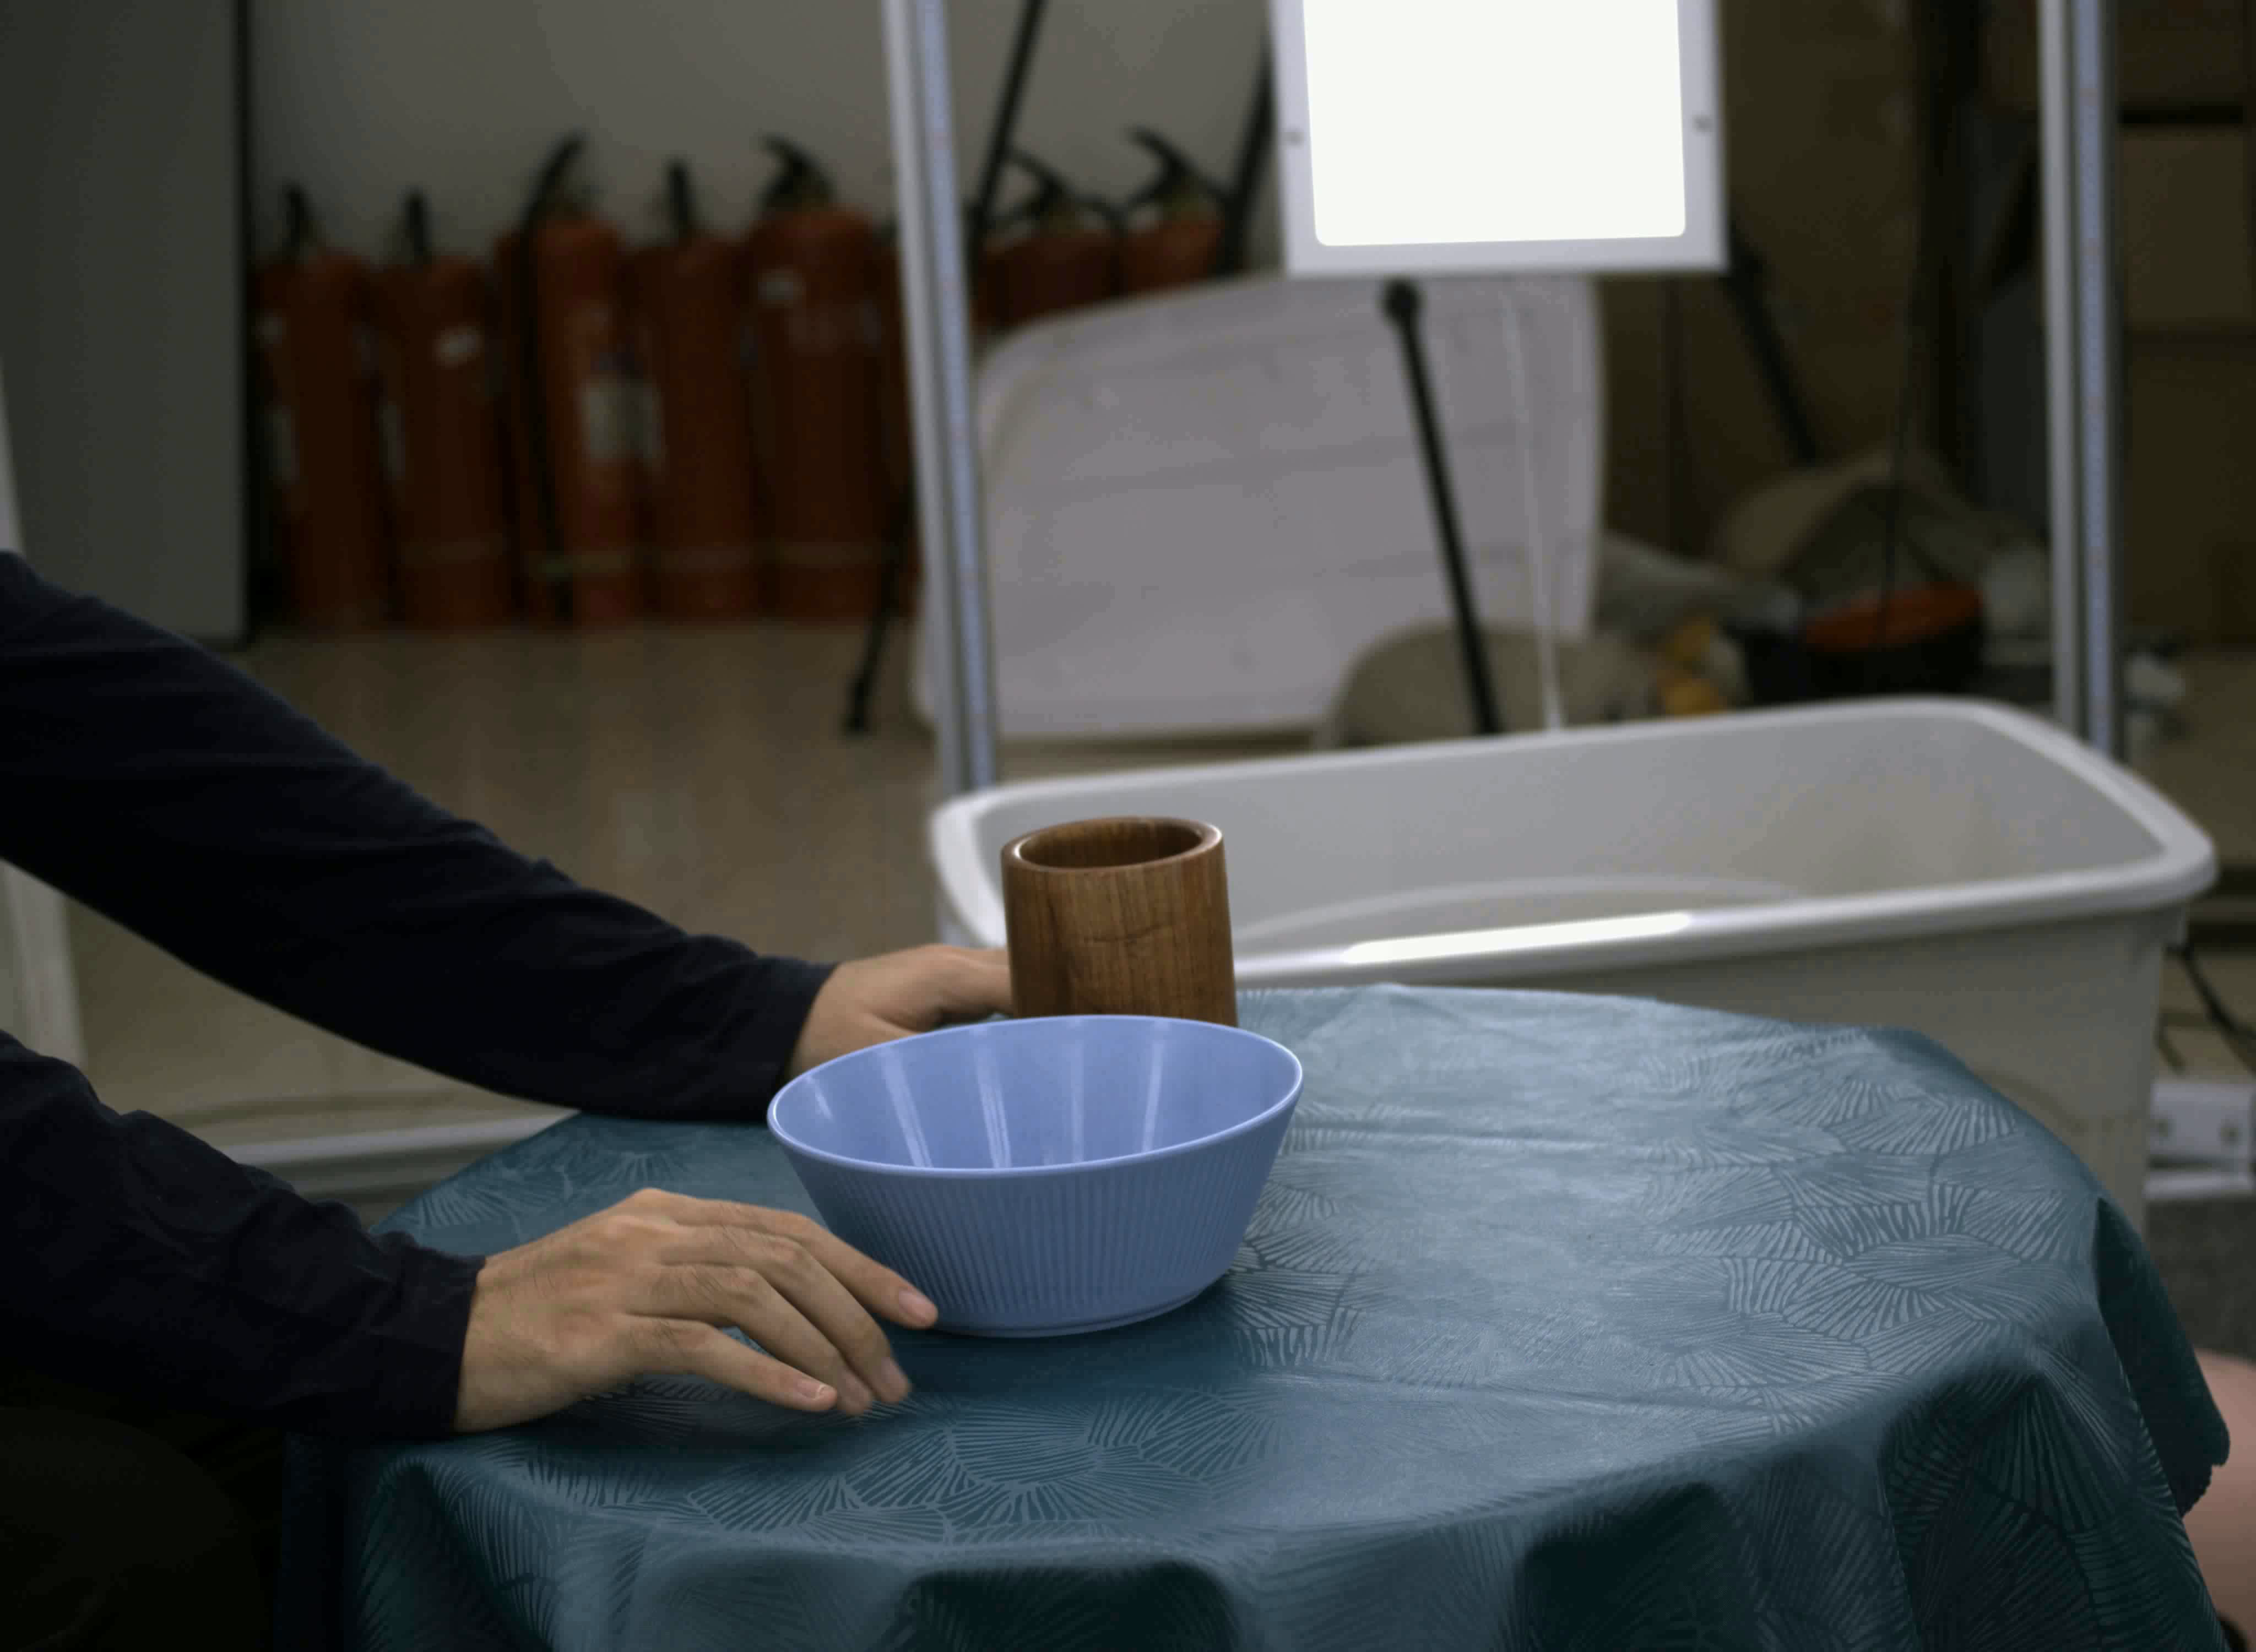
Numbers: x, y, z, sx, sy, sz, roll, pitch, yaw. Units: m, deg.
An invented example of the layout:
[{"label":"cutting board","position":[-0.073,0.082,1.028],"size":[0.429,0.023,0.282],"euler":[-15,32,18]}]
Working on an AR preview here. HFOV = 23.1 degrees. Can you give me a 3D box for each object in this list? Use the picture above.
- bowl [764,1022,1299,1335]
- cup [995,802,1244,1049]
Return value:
[{"label":"bowl","position":[-0.029,0.117,1.799],"size":[0.175,0.070,0.176],"euler":[-6,13,0]},{"label":"cup","position":[-0.001,0.058,1.938],"size":[0.087,0.119,0.087],"euler":[-7,12,0]}]
